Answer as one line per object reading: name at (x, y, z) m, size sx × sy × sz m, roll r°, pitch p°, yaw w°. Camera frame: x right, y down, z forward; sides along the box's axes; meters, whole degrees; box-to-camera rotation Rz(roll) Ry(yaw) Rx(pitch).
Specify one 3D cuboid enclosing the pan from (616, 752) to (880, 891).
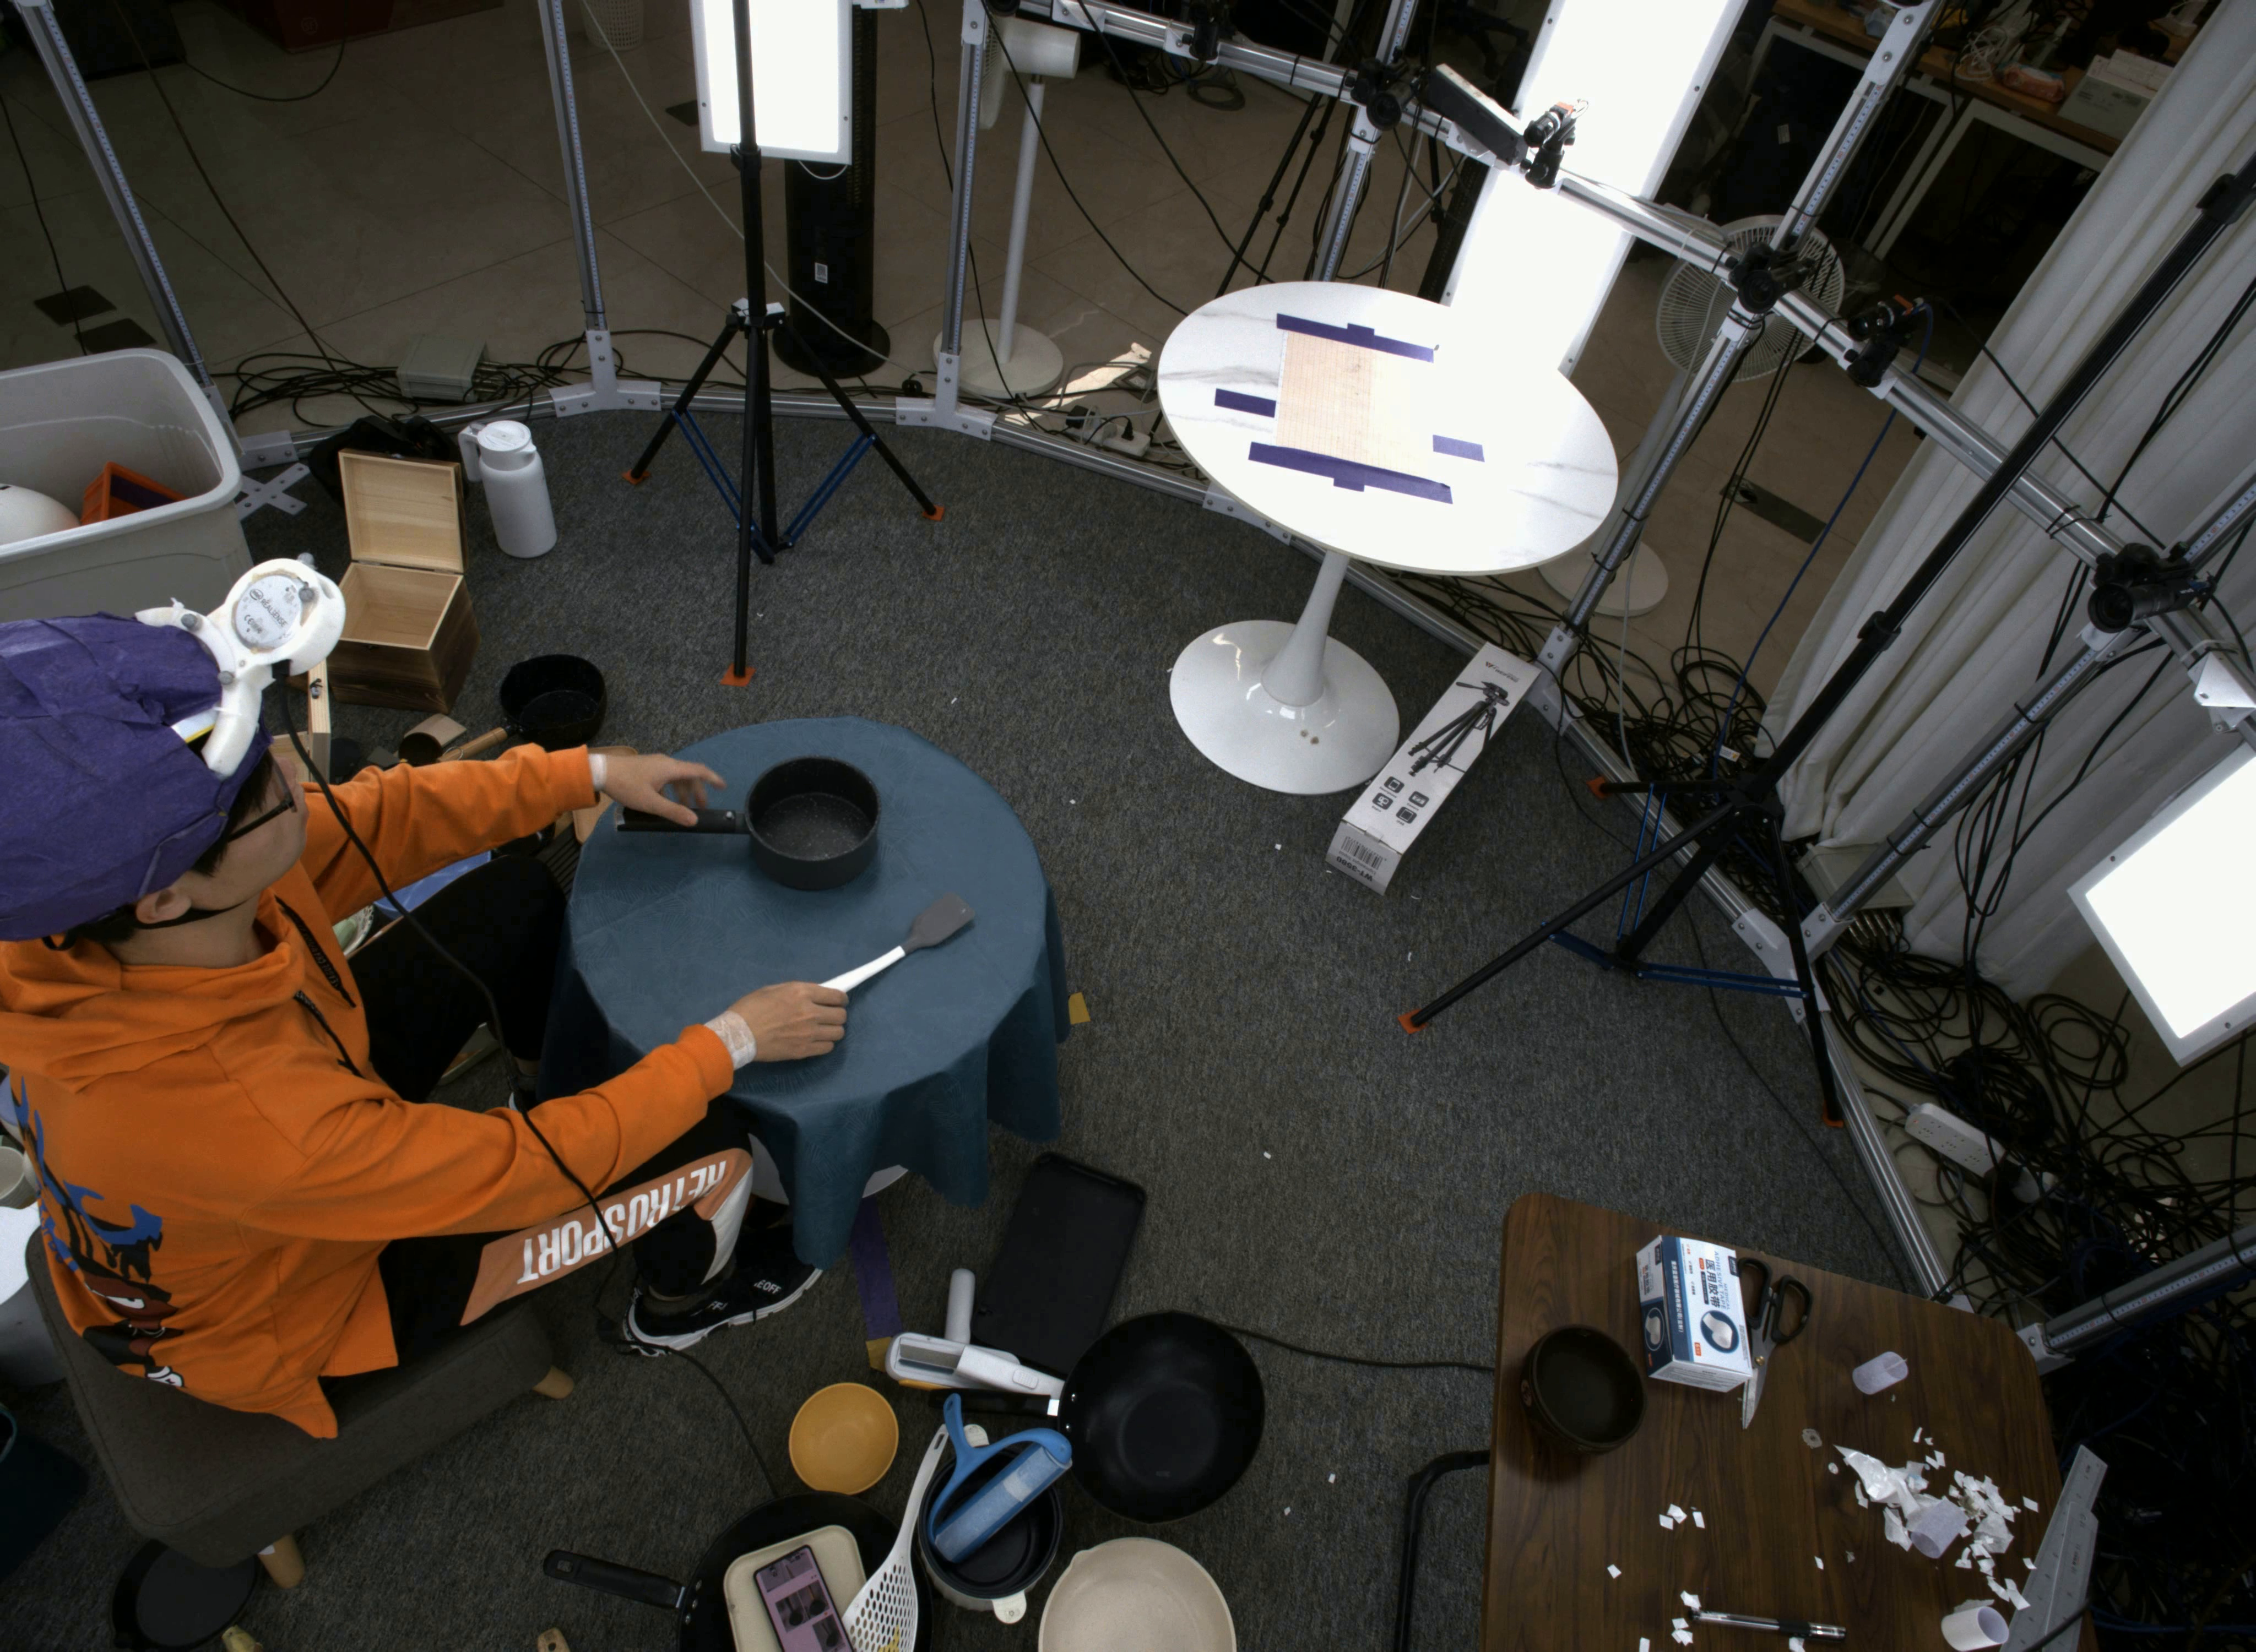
pan at (-0.483, -0.003, 1.646) m, size 0.330 × 0.088 × 0.168 m, roll -1°, pitch 53°, yaw -18°

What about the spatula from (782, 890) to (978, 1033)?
spatula at (-0.302, 0.163, 1.598) m, size 0.057 × 0.033 × 0.288 m, roll 36°, pitch 46°, yaw 23°
